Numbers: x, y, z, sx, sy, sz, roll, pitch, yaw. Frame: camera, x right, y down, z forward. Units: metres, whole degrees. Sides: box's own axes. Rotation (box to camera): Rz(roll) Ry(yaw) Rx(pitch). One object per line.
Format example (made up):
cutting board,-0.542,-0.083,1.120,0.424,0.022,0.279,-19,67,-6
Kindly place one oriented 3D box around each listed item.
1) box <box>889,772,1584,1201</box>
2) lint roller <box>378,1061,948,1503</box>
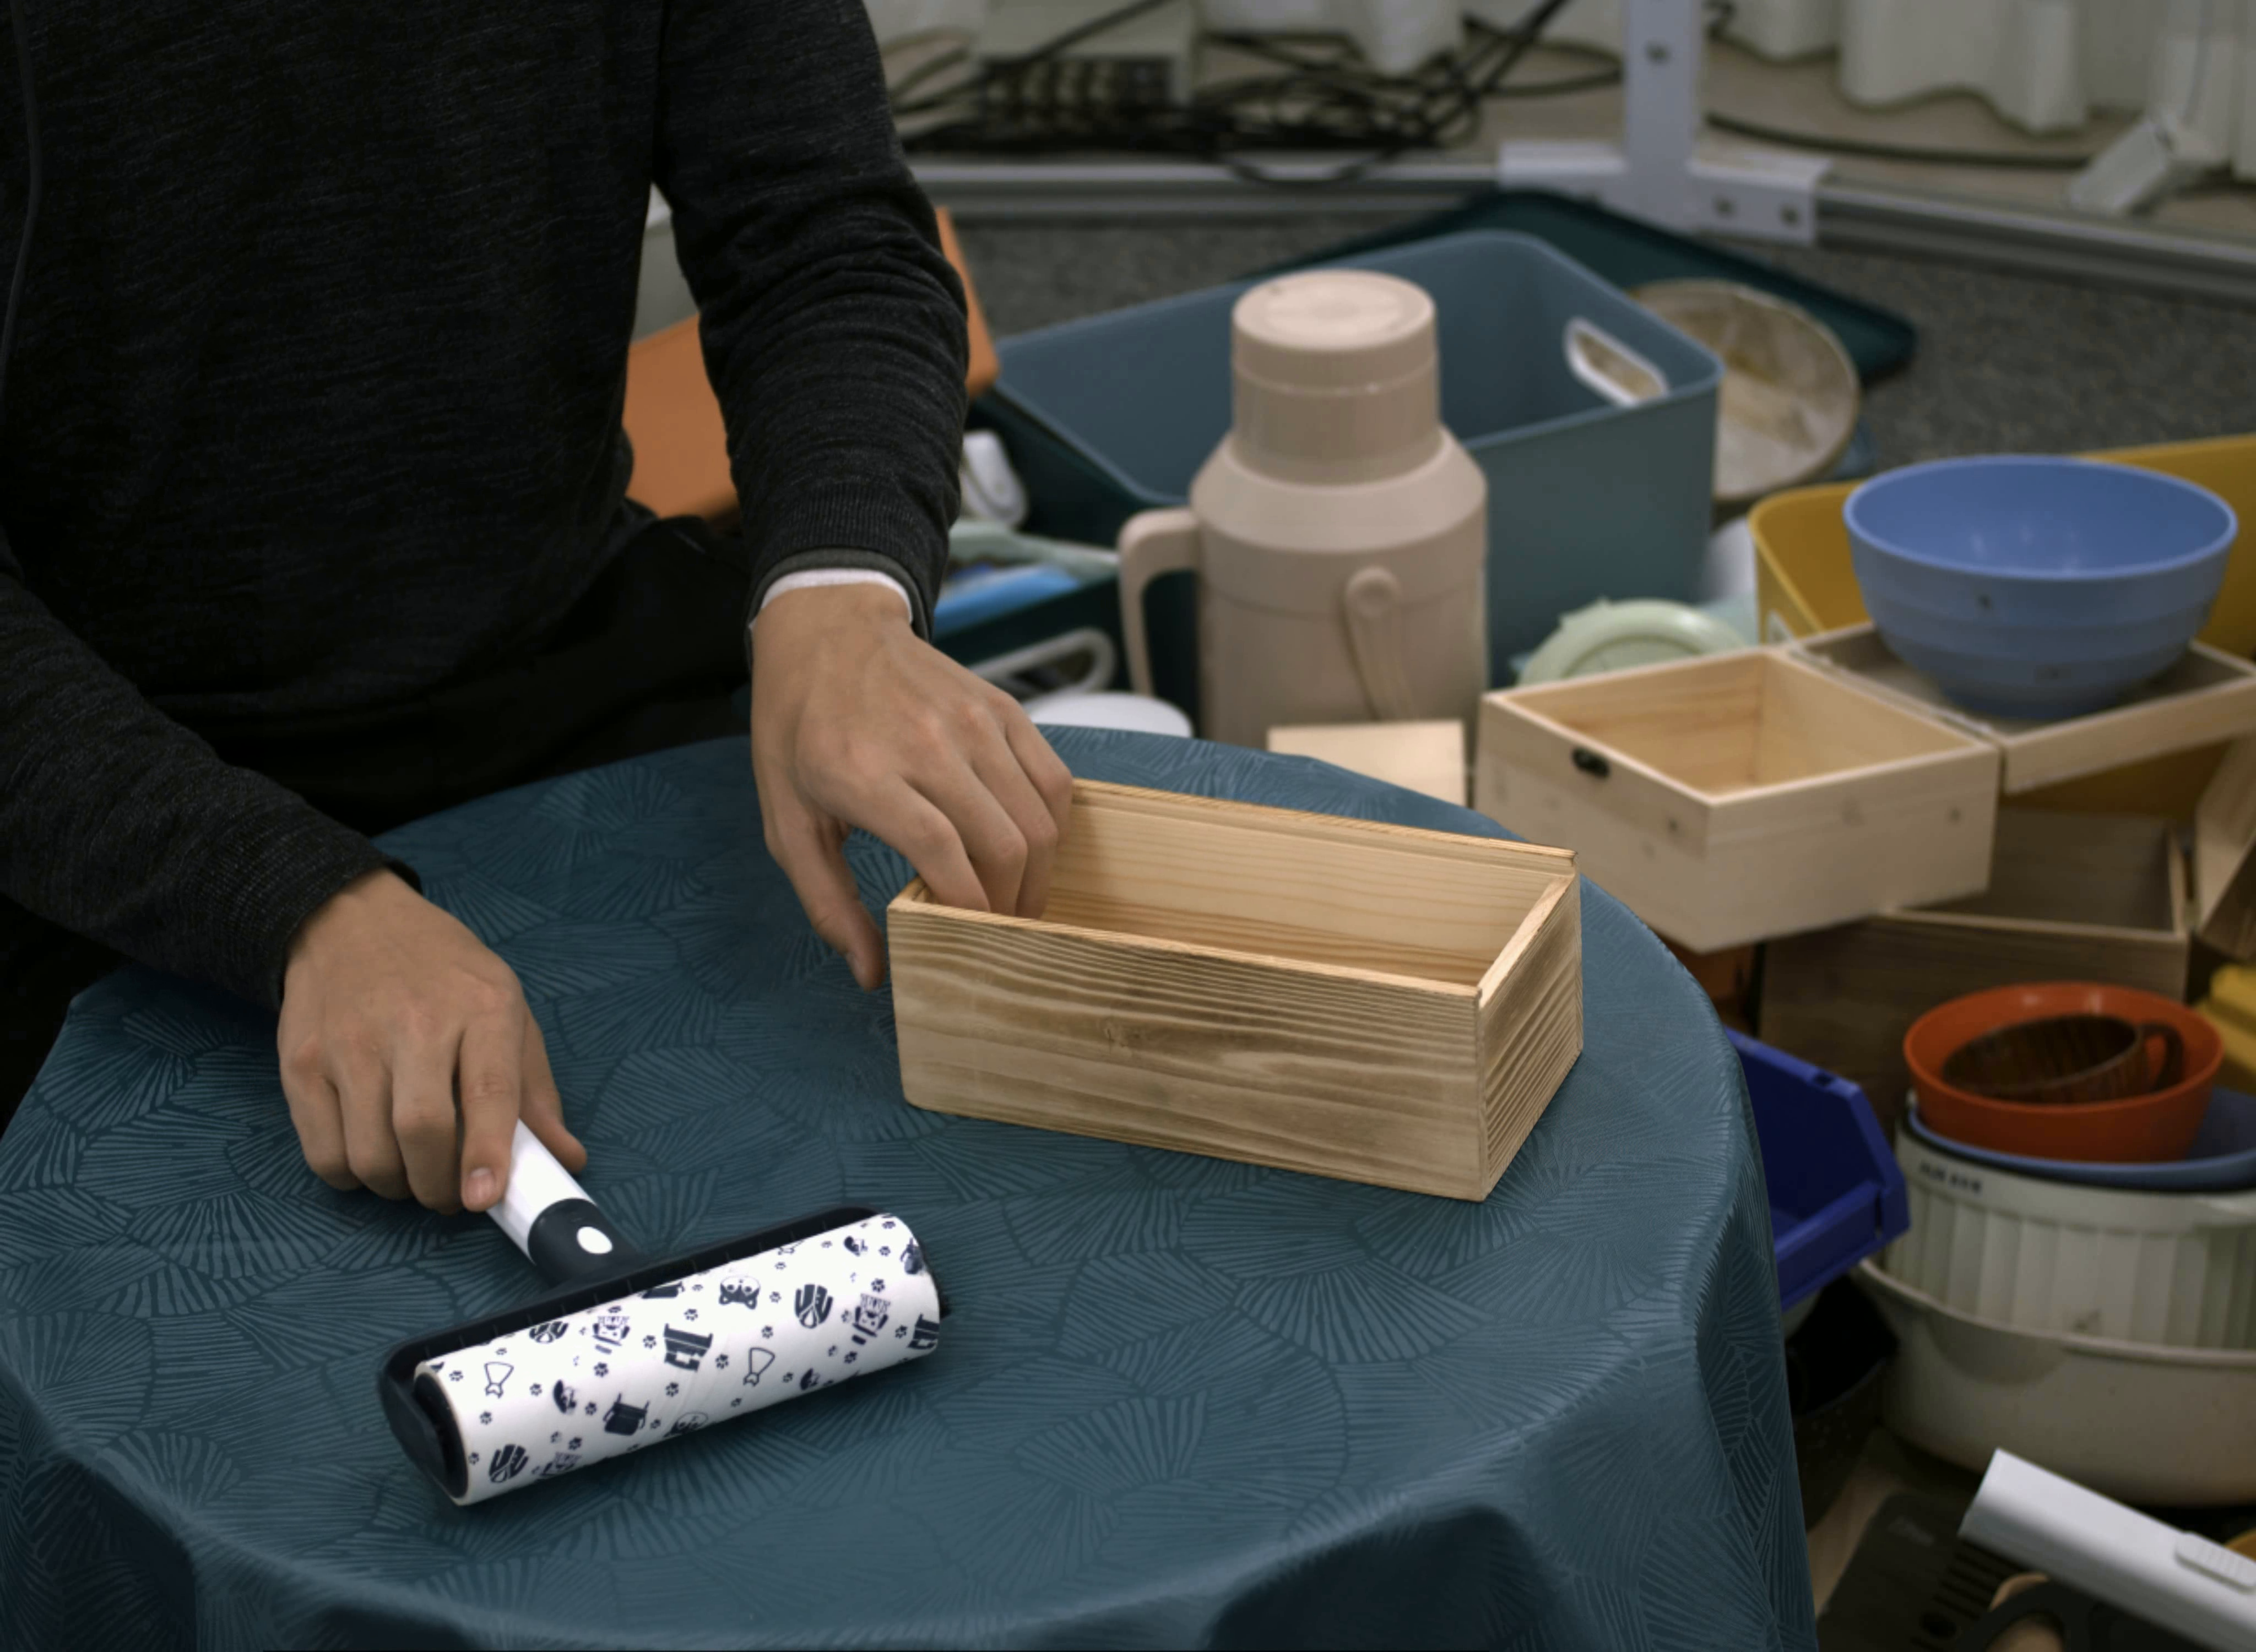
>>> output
box,0.038,0.052,1.906,0.210,0.079,0.109,8,29,21
lint roller,-0.188,0.127,1.821,0.177,0.050,0.248,-17,29,-24
